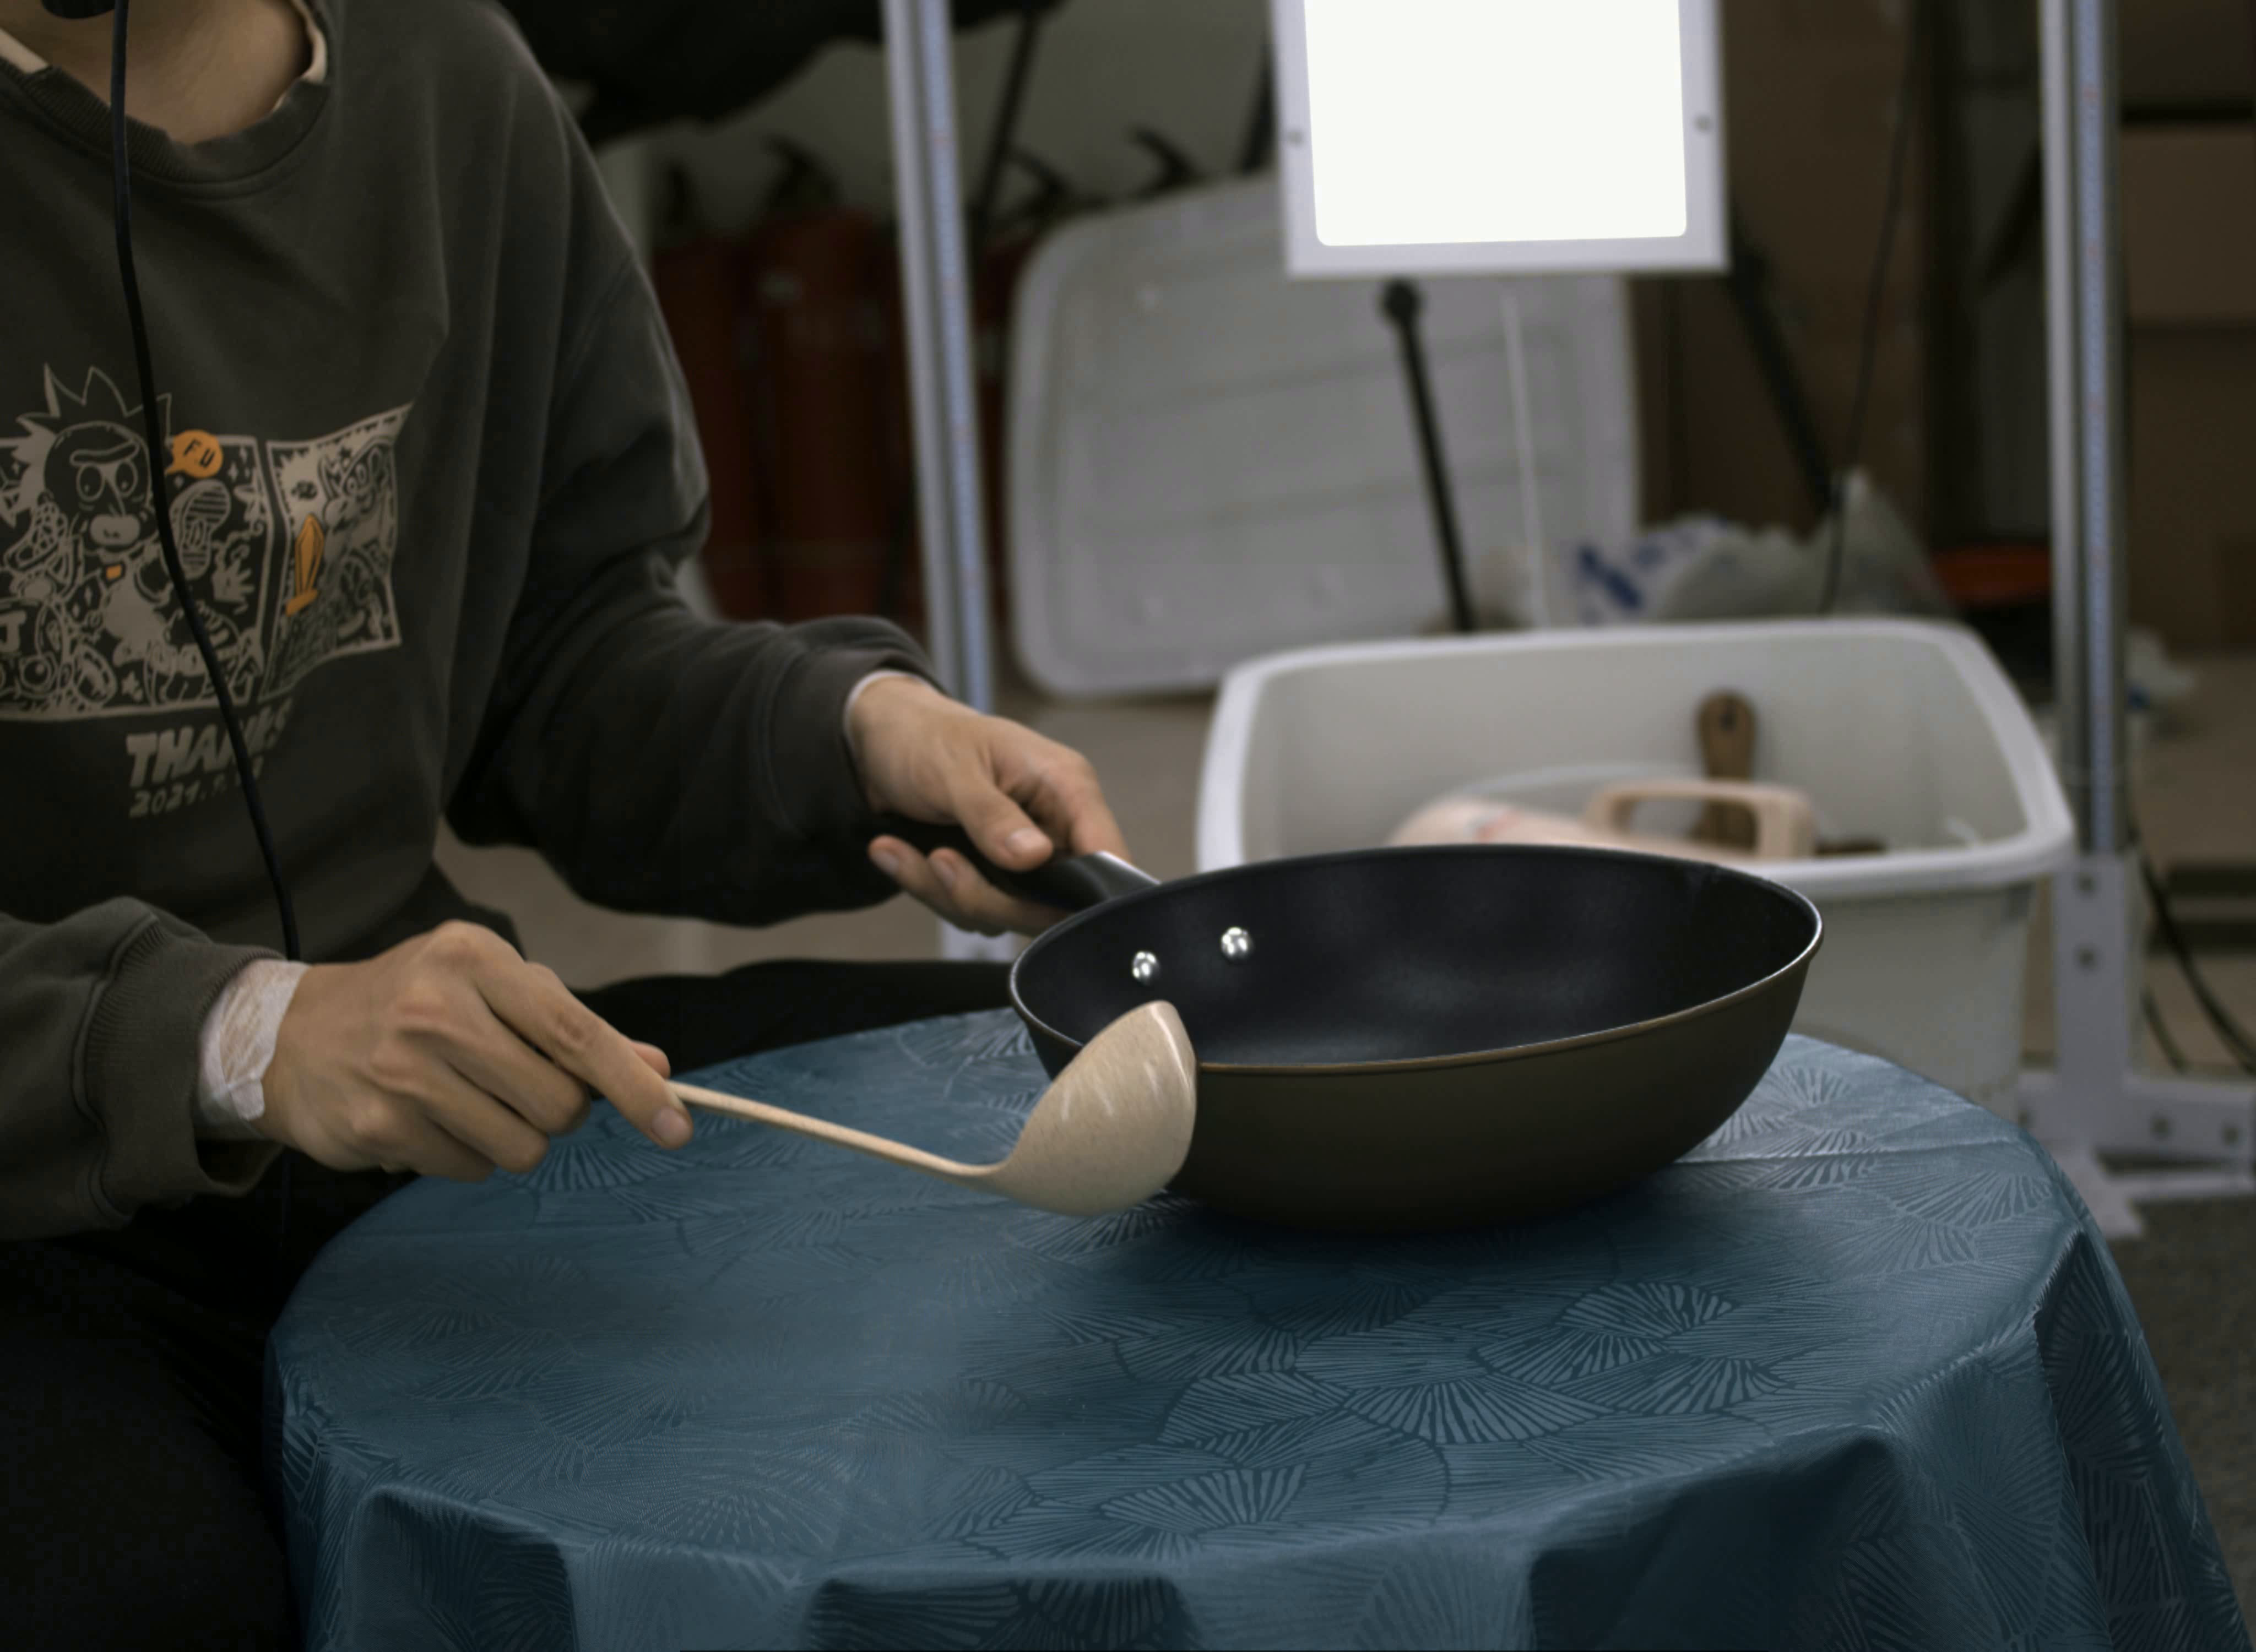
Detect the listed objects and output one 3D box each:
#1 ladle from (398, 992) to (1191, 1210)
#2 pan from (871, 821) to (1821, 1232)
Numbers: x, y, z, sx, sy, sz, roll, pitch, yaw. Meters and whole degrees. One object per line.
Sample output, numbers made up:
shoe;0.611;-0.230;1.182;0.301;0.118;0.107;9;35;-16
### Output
ladle;-0.104;0.064;1.738;0.257;0.072;0.071;12;-14;17
pan;0.043;0.066;1.955;0.281;0.087;0.473;-15;16;-34
